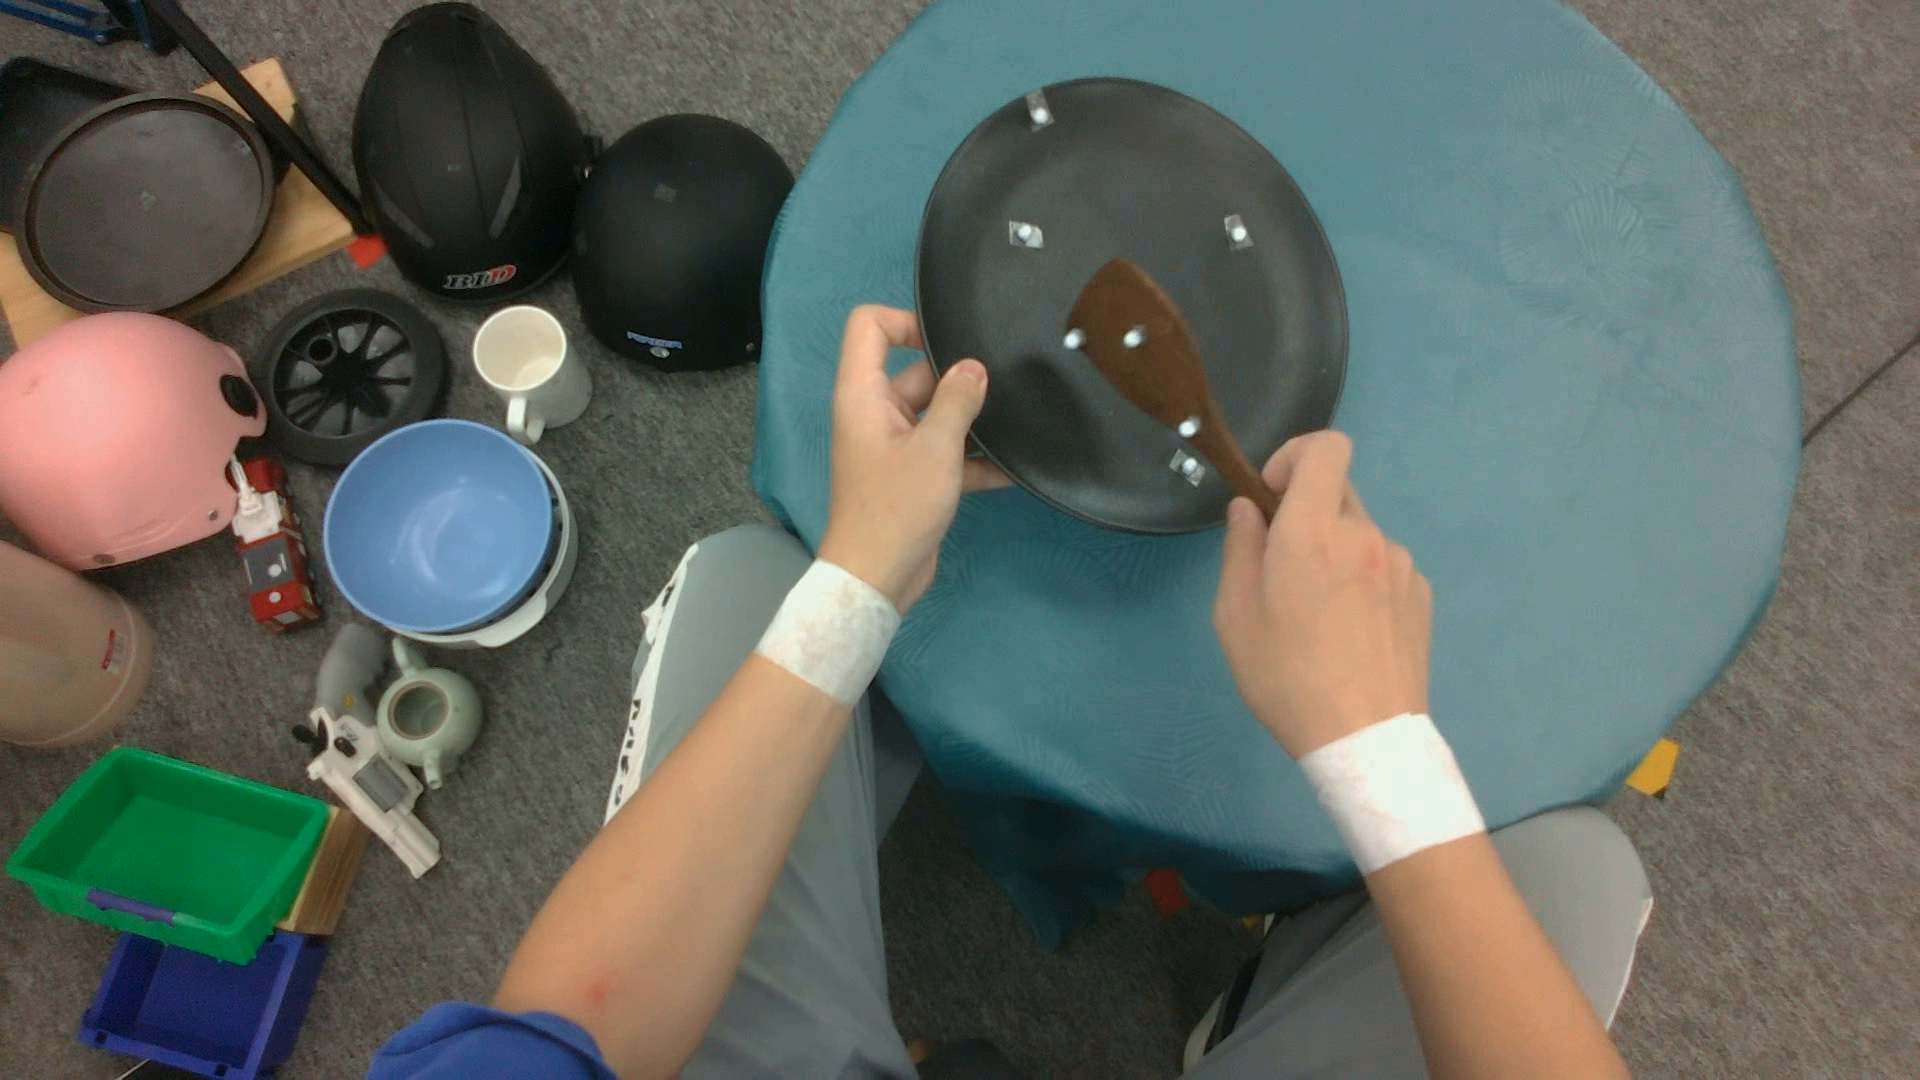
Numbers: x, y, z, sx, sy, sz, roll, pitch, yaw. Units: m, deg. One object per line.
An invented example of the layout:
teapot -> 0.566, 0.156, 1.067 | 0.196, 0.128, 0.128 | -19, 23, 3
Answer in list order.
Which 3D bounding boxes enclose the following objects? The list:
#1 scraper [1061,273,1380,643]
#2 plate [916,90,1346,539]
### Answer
scraper -> 0.124, -0.036, 0.649 | 0.011, 0.075, 0.211 | -36, 83, -22
plate -> 0.091, -0.119, 0.721 | 0.245, 0.023, 0.245 | 4, 78, -18
